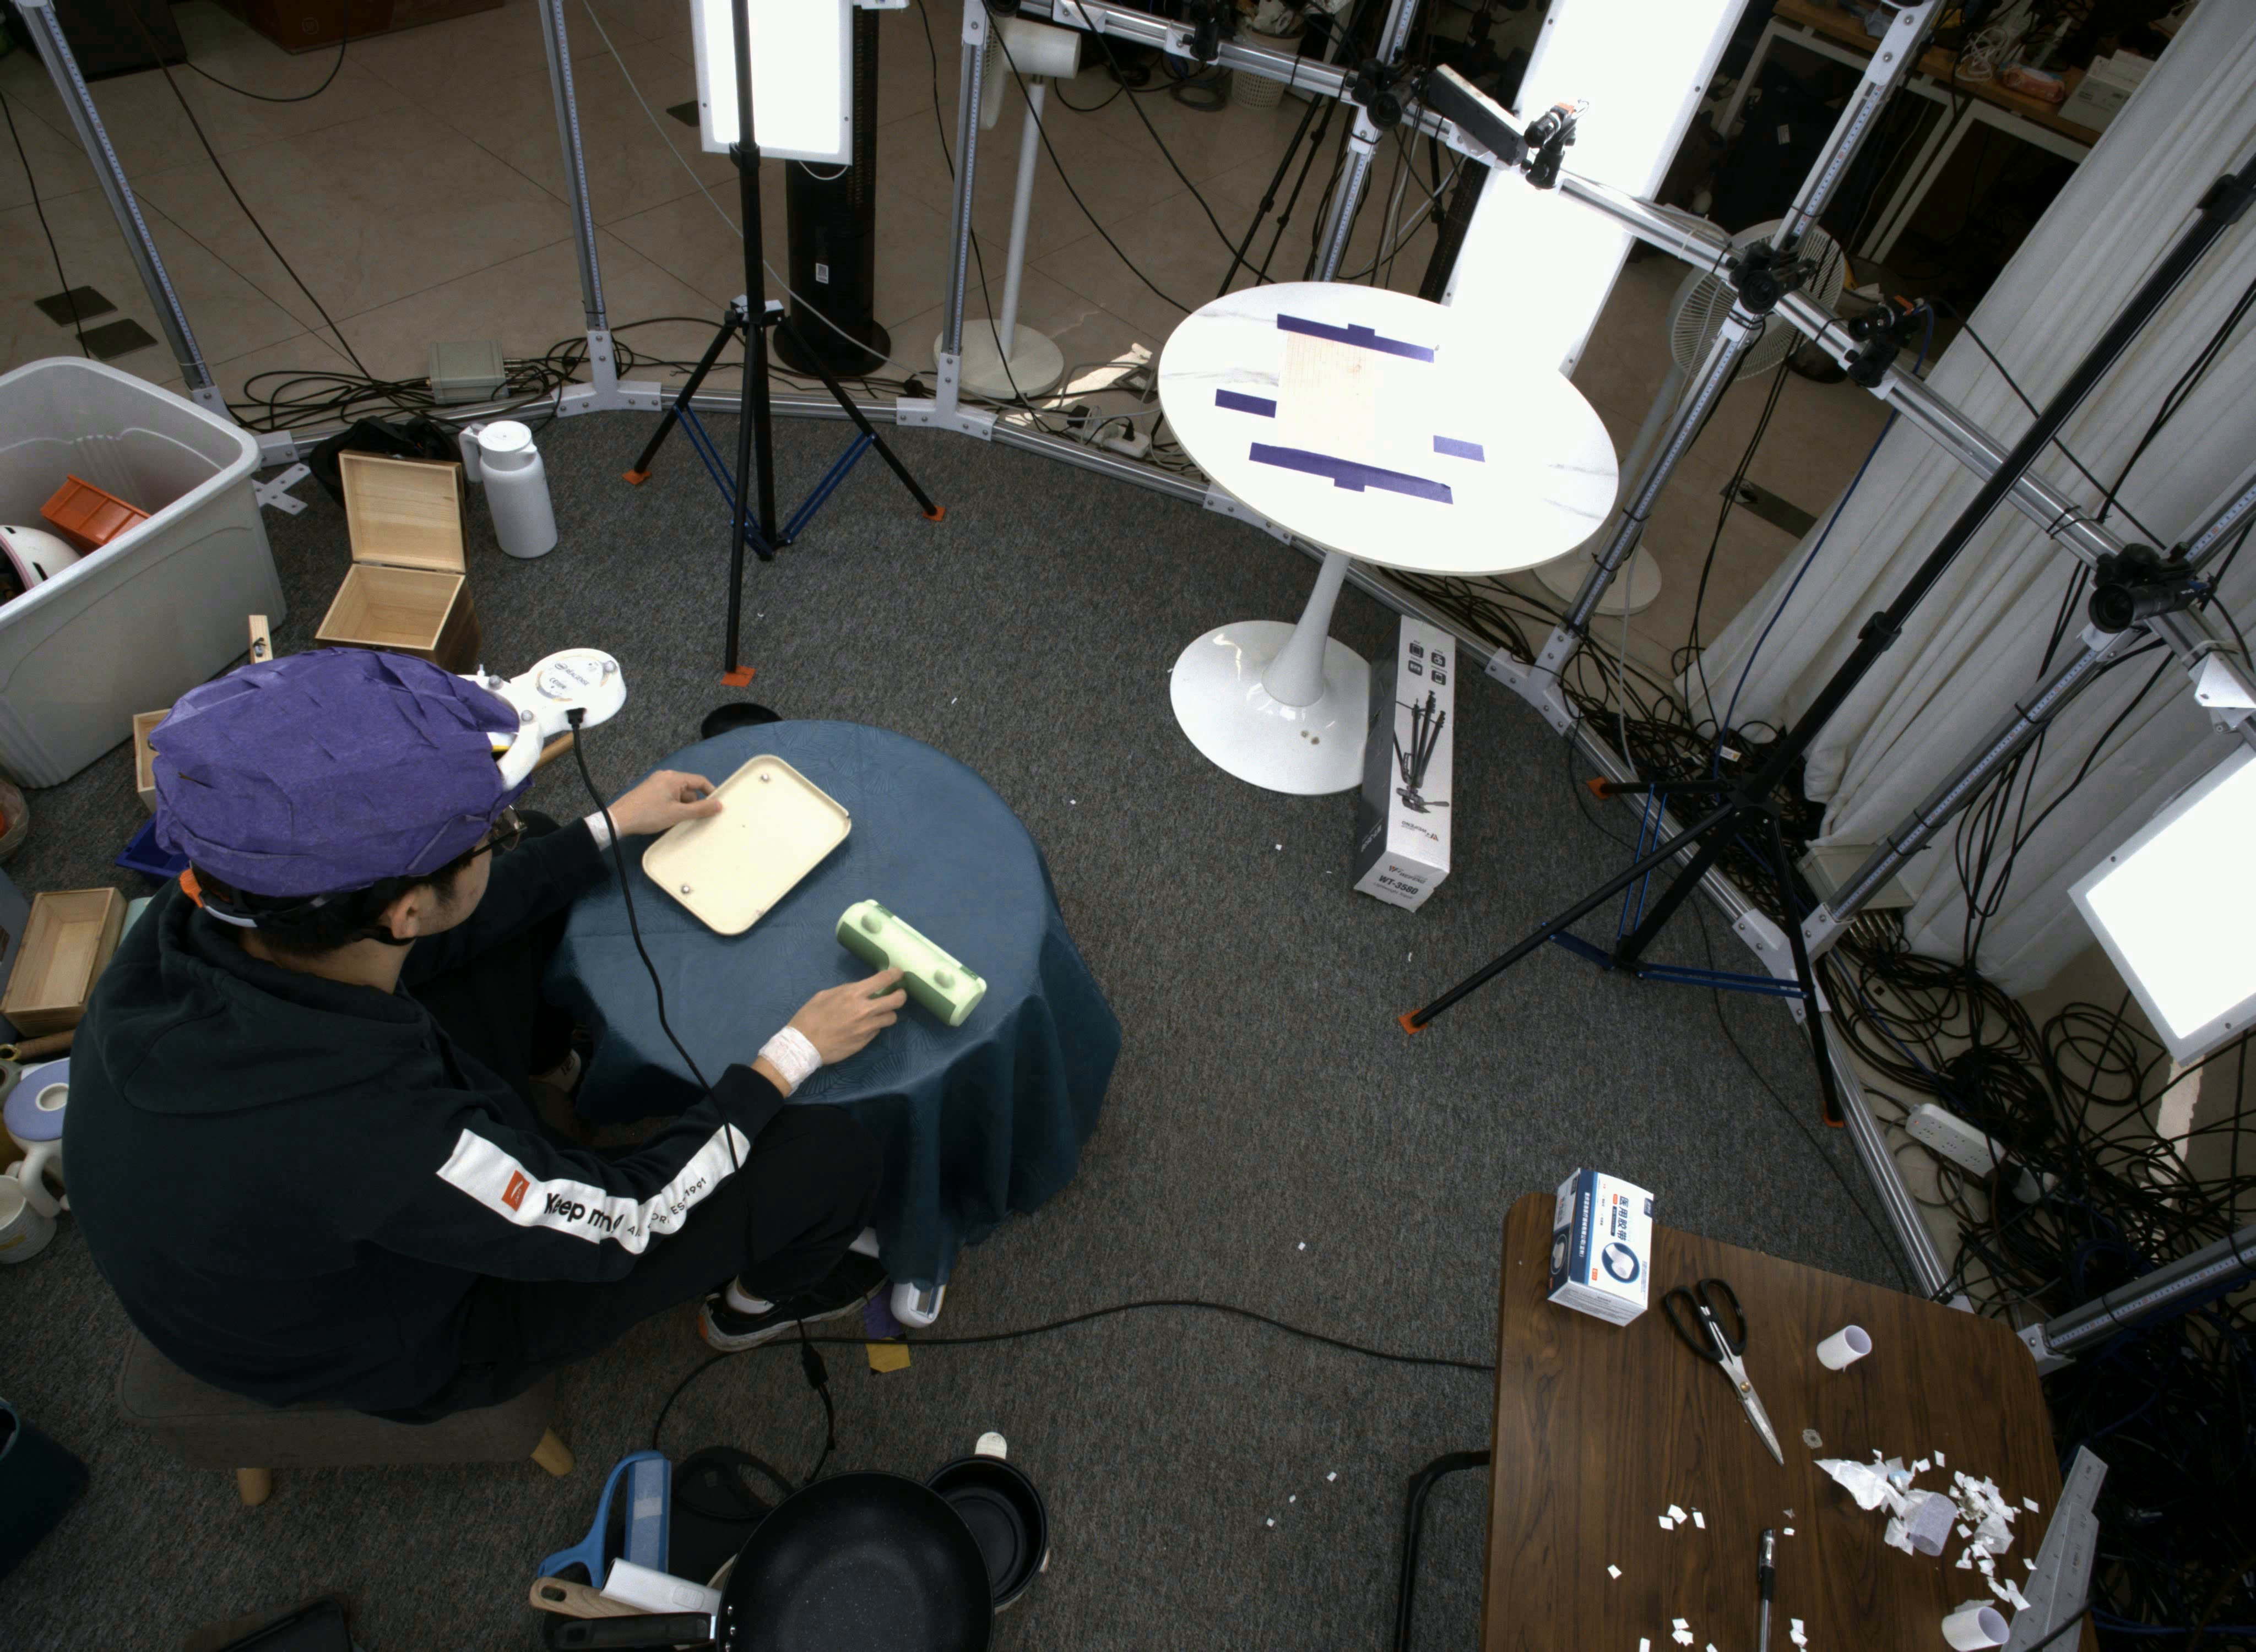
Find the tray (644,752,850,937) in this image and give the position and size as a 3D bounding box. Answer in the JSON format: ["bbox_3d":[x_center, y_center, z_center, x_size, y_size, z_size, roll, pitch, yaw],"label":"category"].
[{"bbox_3d":[-0.488,0.020,1.664,0.169,0.017,0.239,37,59,5],"label":"tray"}]

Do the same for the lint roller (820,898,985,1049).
[{"bbox_3d":[-0.297,0.185,1.545,0.195,0.083,0.183,35,46,11],"label":"lint roller"}]
